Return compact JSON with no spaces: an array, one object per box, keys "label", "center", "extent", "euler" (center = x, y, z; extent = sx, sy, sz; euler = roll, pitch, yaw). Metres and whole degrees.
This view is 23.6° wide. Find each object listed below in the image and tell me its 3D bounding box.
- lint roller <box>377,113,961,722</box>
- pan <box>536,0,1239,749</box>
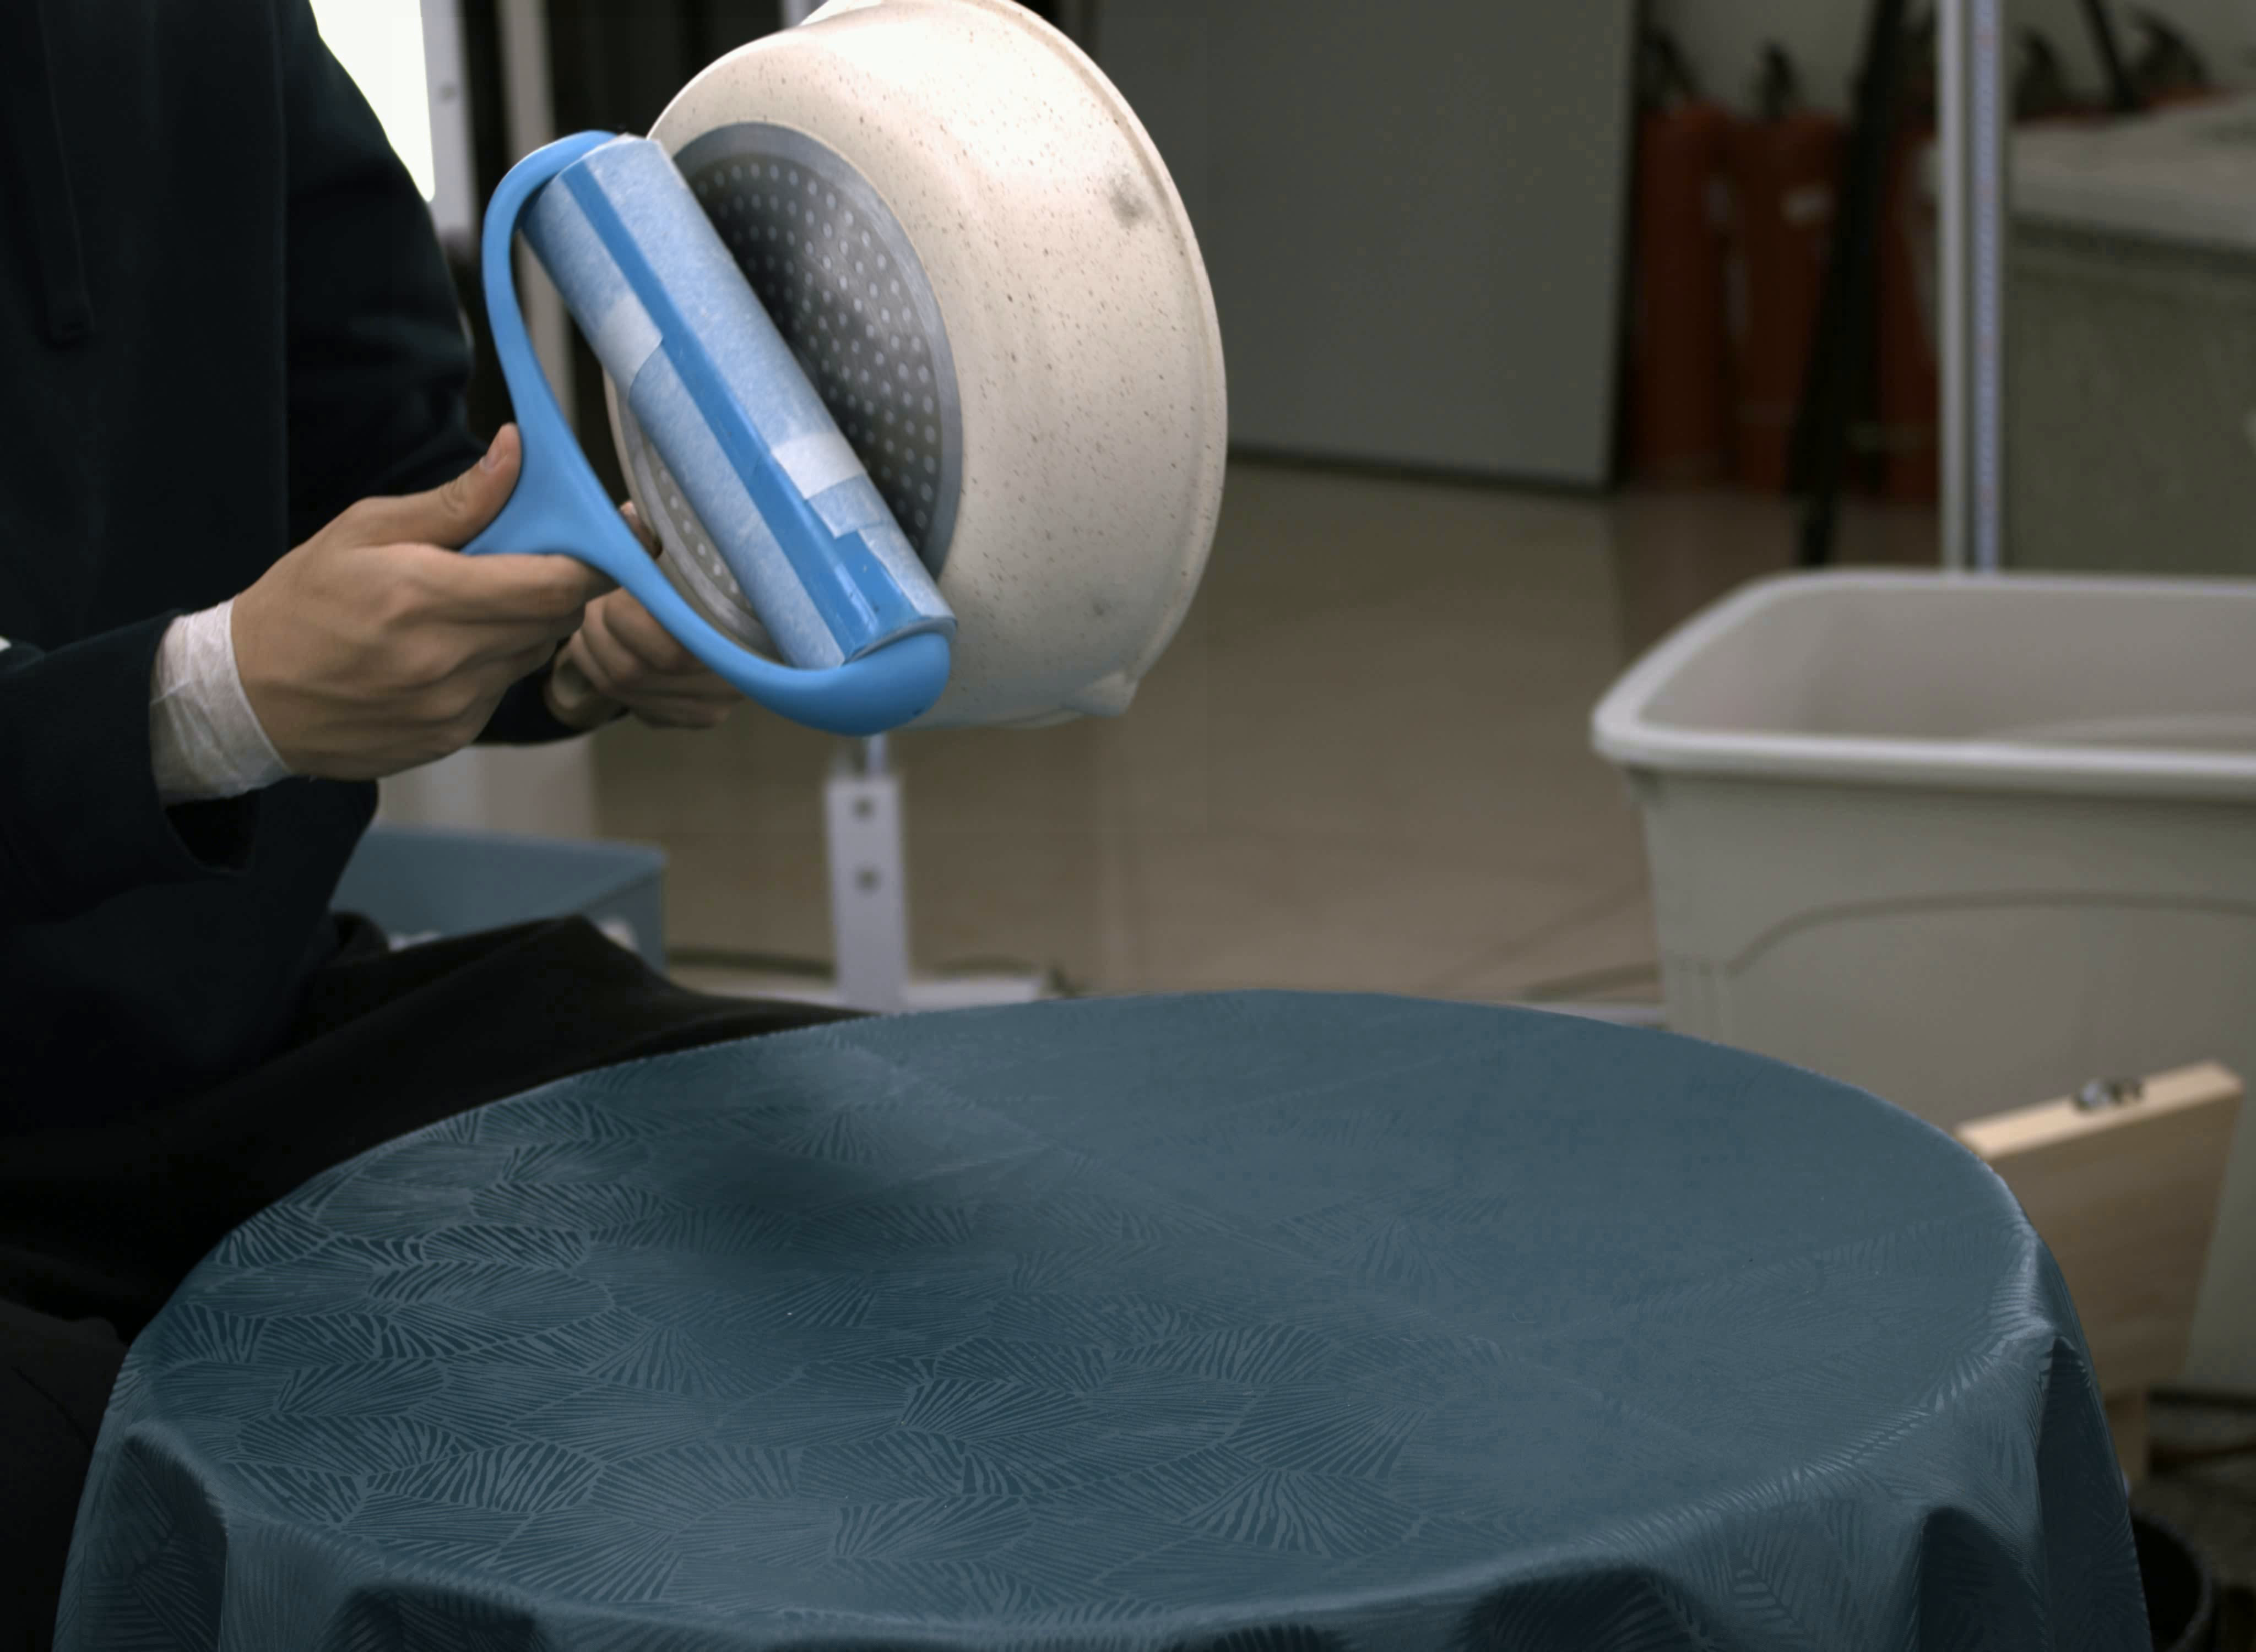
[{"label":"lint roller","center":[-0.172,-0.096,1.724],"extent":[0.180,0.231,0.067],"euler":[-37,-16,5]},{"label":"pan","center":[-0.124,-0.113,1.849],"extent":[0.100,0.266,0.439],"euler":[-18,-10,-39]}]
